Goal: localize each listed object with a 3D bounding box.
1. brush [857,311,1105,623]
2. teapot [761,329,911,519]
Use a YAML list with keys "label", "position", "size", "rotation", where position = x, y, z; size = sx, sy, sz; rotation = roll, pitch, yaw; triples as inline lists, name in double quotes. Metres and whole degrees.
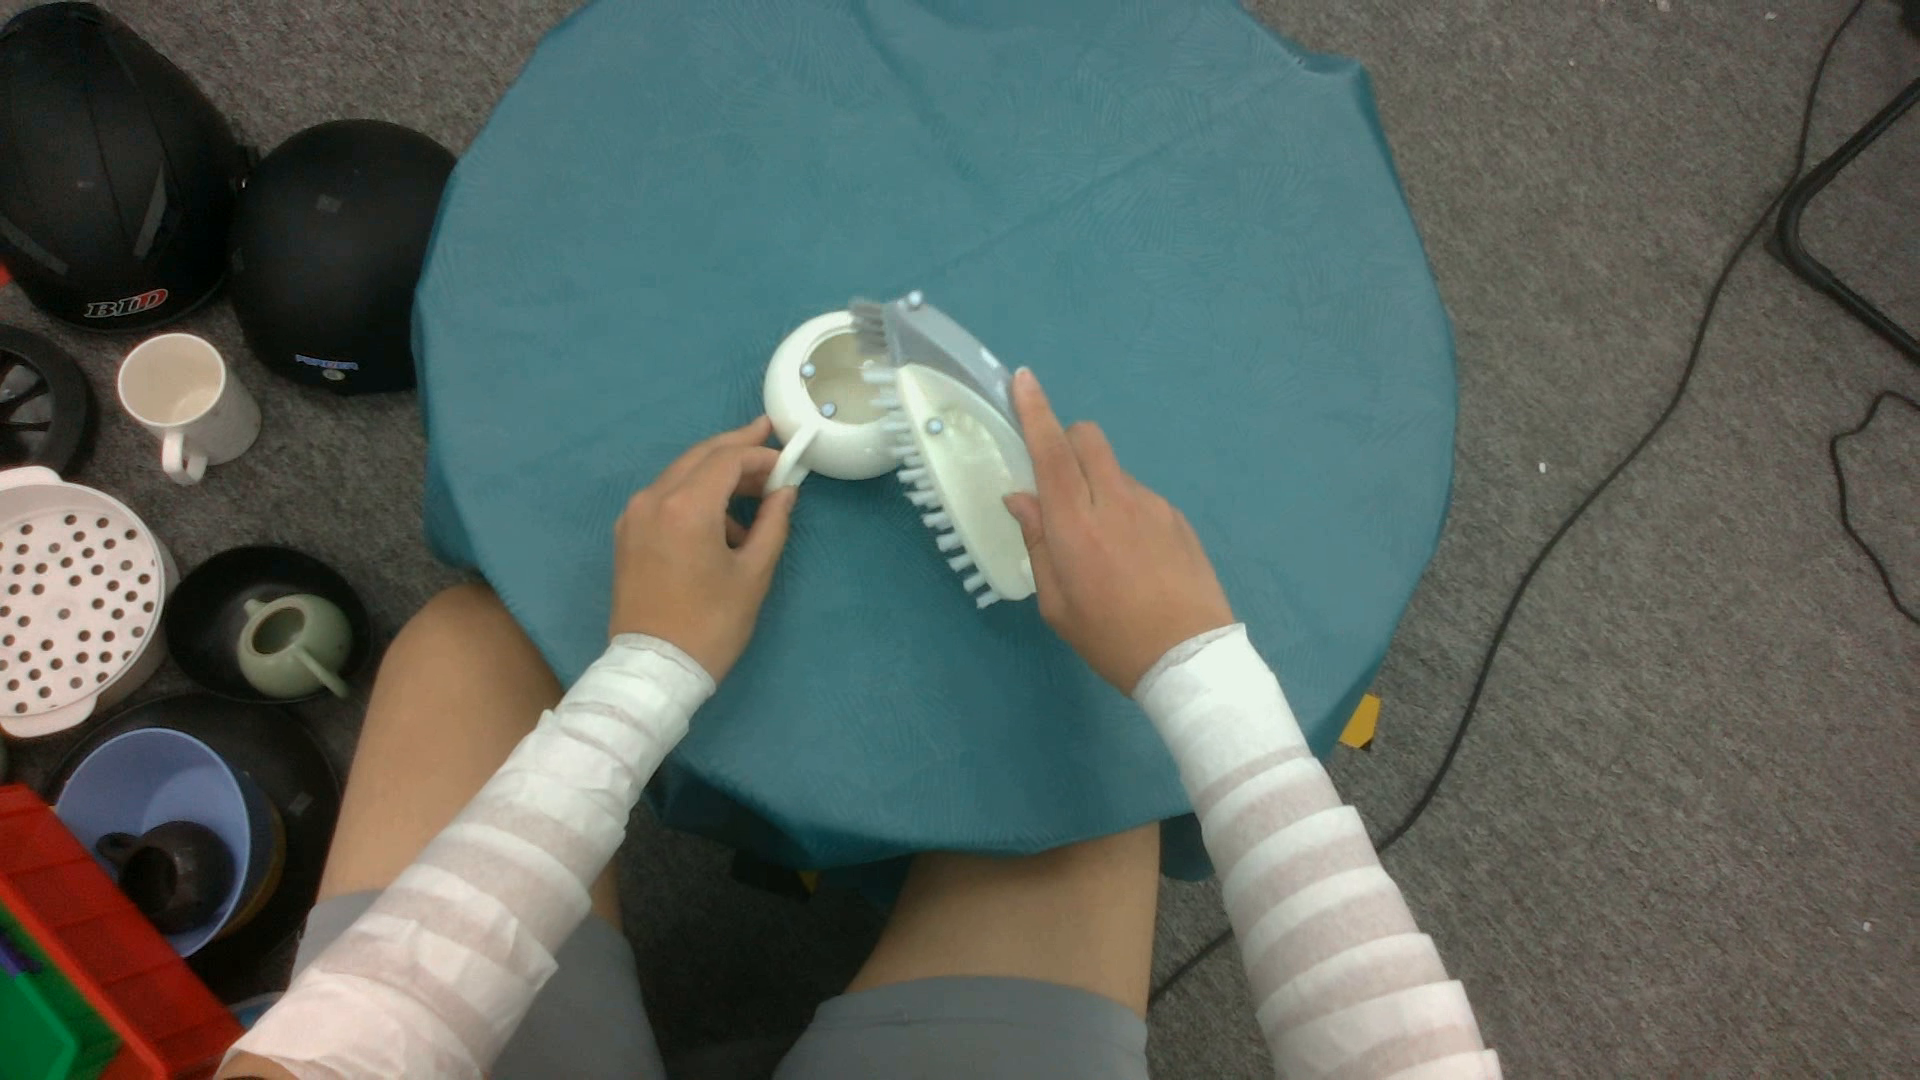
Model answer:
- label: "brush"
  position: [0.014, -0.044, 0.701]
  size: [0.062, 0.094, 0.175]
  rotation: [-38, 104, -37]
- label: "teapot"
  position: [-0.065, -0.062, 0.753]
  size: [0.093, 0.056, 0.128]
  rotation: [34, 70, 1]
